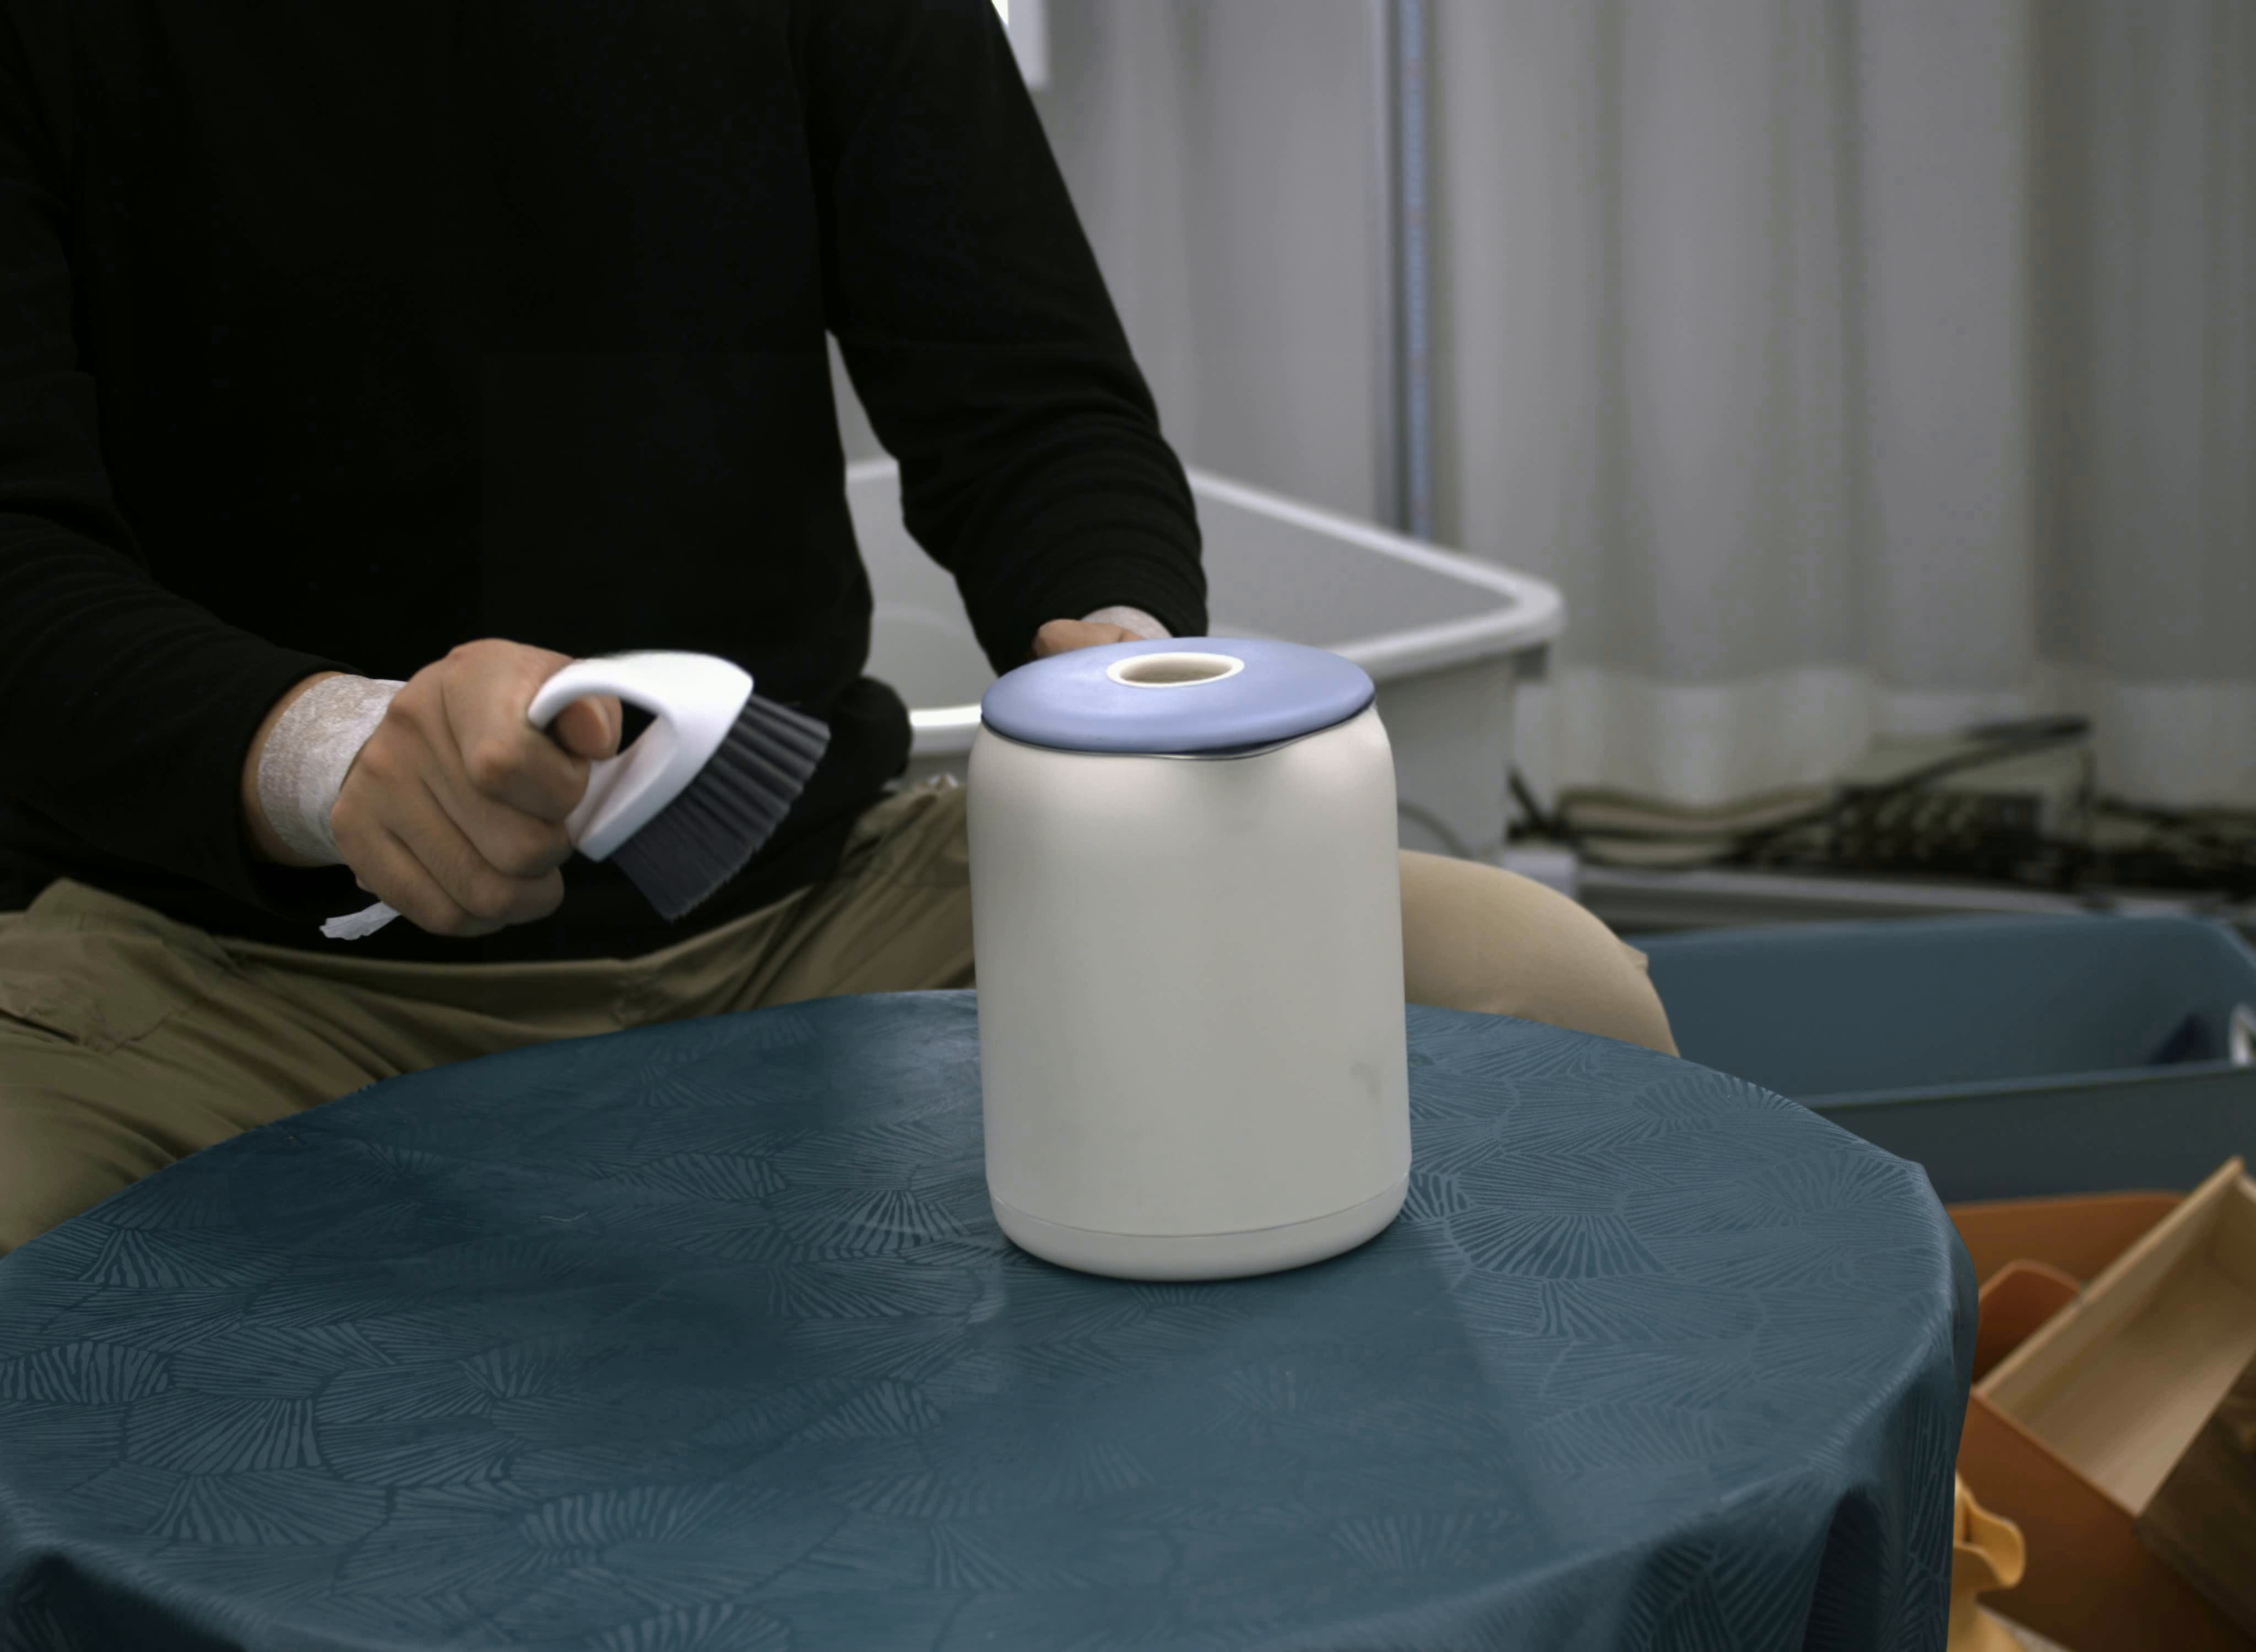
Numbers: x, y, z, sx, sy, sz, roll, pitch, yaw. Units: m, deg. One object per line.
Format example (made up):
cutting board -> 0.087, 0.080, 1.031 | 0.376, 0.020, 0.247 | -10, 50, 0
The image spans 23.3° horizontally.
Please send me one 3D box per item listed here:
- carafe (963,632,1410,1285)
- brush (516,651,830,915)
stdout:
carafe -> 0.010, 0.034, 1.687 | 0.131, 0.182, 0.192 | -7, 13, -17
brush -> -0.138, -0.019, 1.571 | 0.072, 0.051, 0.099 | 34, -27, -12
